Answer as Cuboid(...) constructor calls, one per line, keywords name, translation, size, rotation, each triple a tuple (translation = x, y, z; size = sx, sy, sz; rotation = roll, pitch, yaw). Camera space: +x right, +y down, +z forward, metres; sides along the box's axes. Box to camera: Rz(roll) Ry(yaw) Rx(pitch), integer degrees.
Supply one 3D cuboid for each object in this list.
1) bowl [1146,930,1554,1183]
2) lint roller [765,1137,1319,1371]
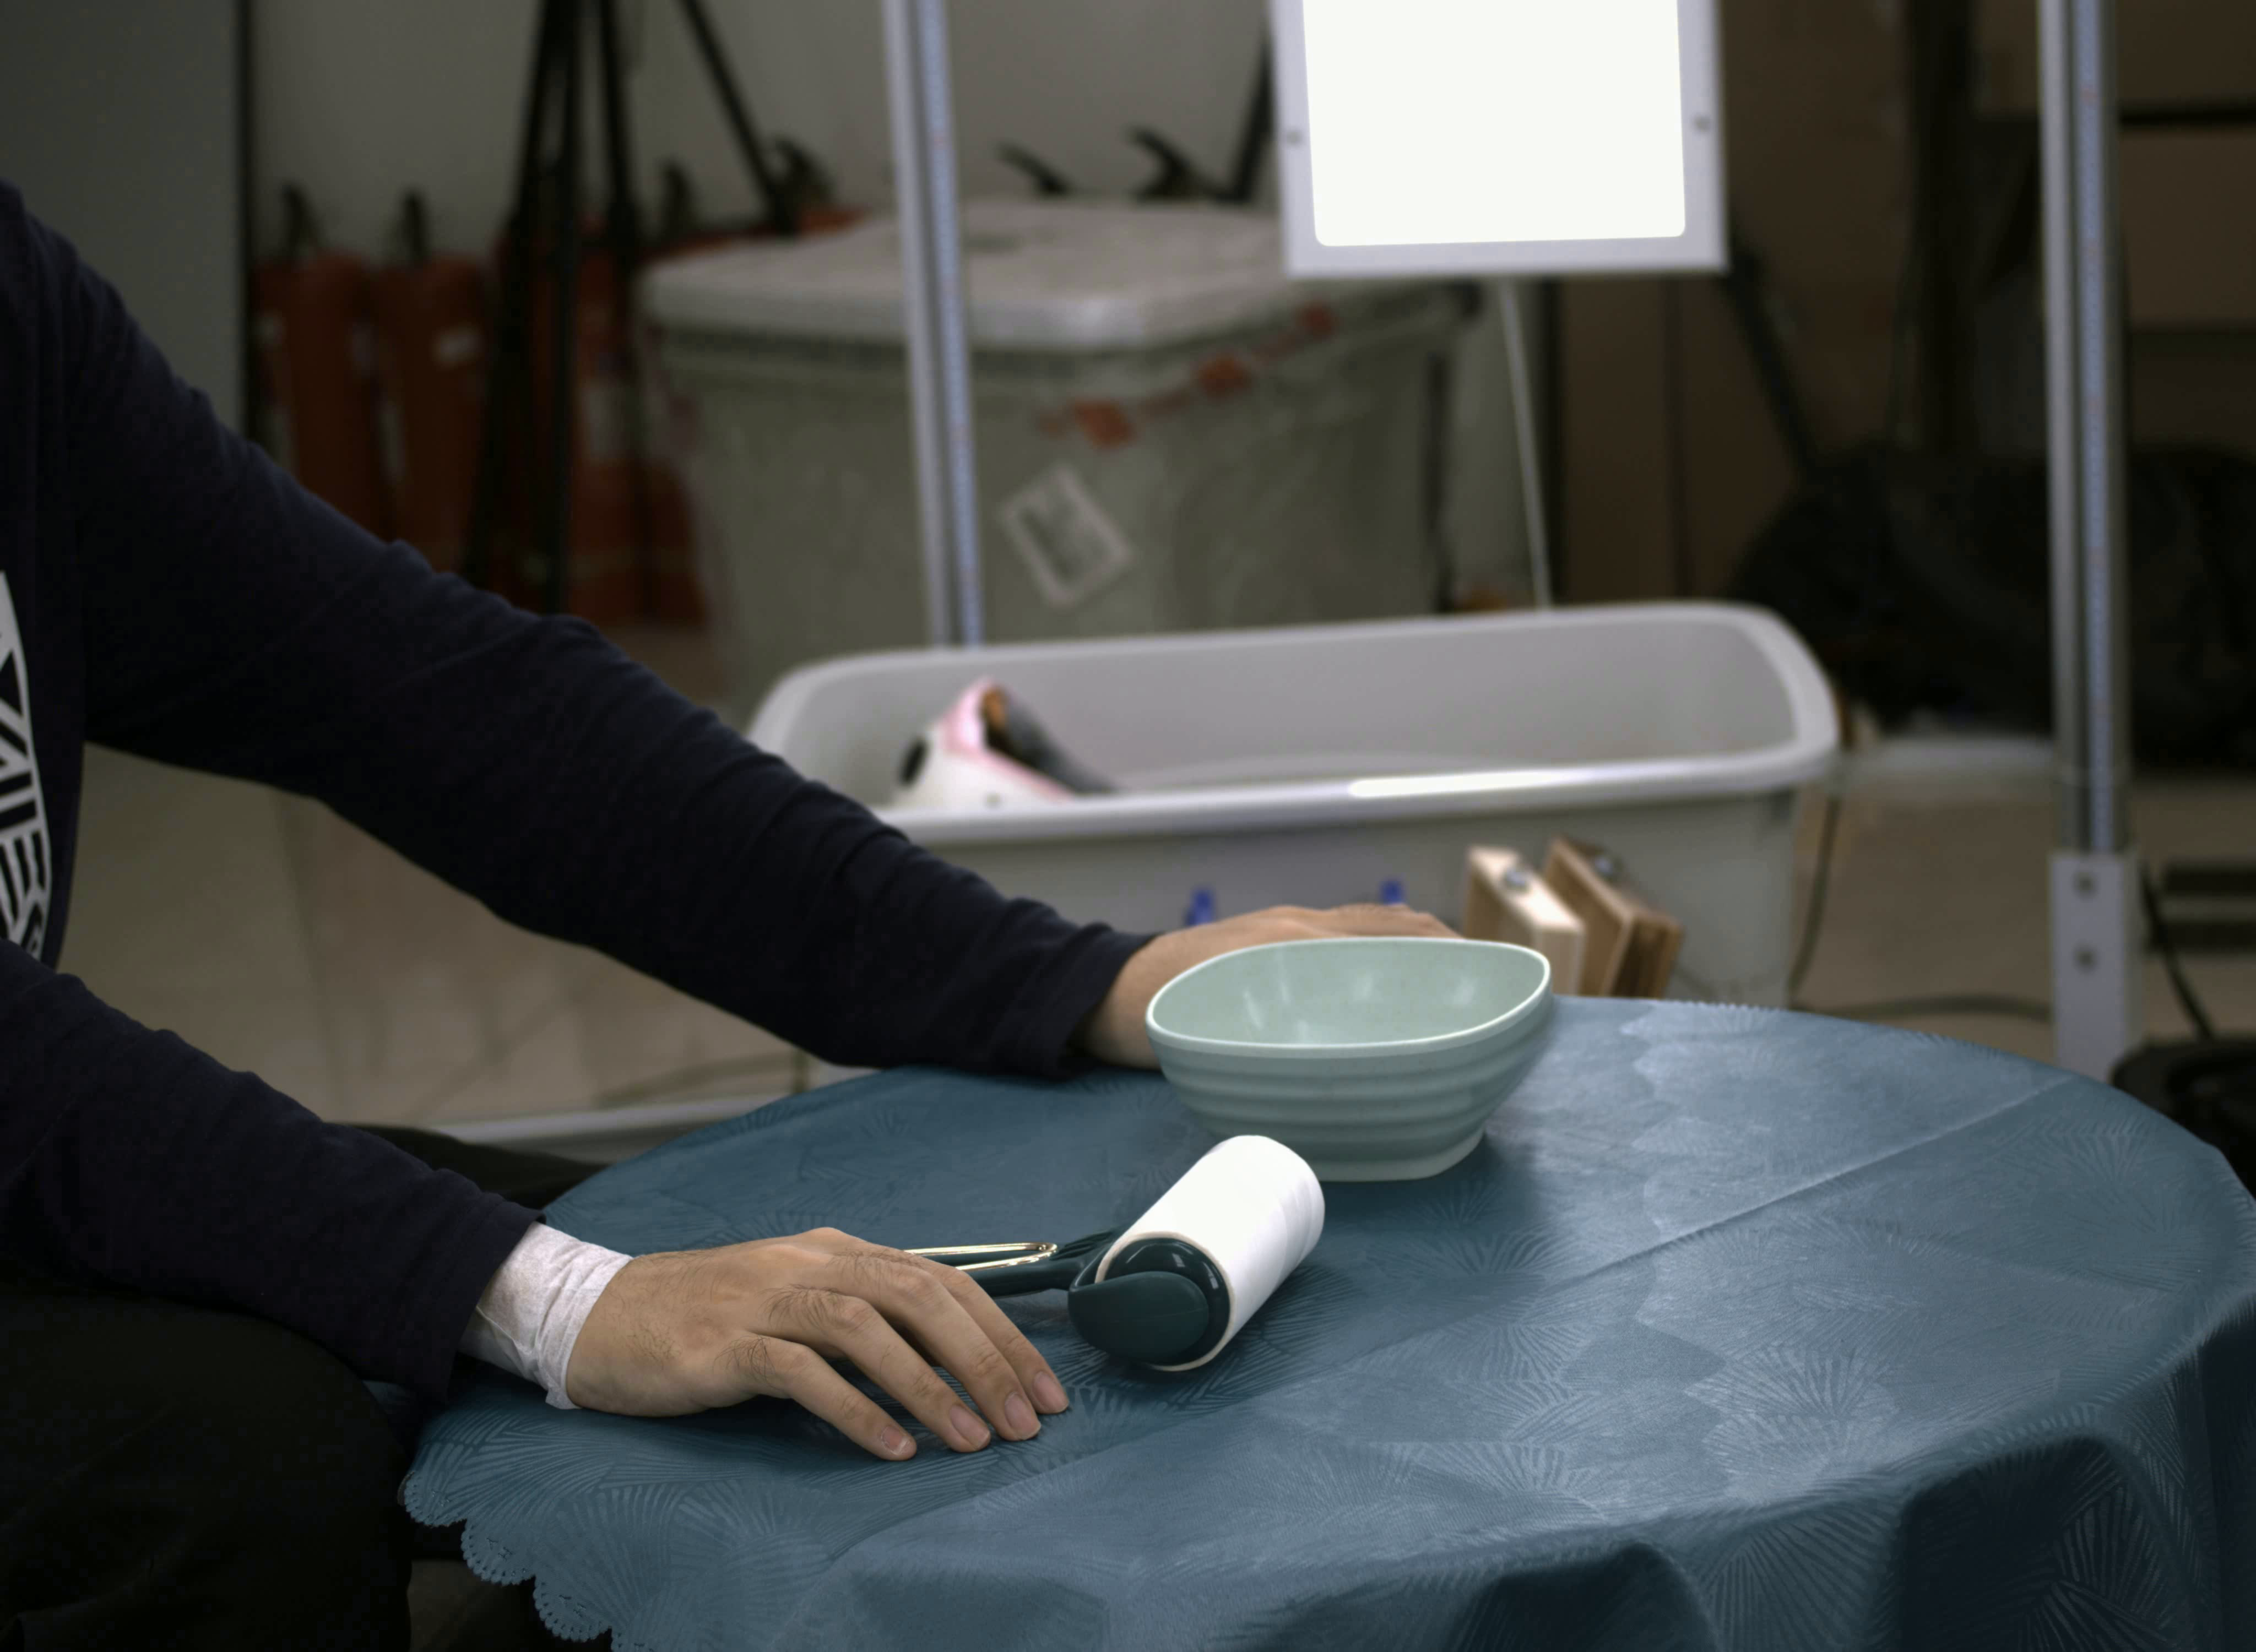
Cuboid(name="bowl", translation=(0.079, 0.084, 1.927), size=(0.151, 0.059, 0.151), rotation=(-3, 15, 0))
Cuboid(name="lint roller", translation=(-0.036, 0.139, 1.781), size=(0.182, 0.048, 0.132), rotation=(-3, 13, 21))
